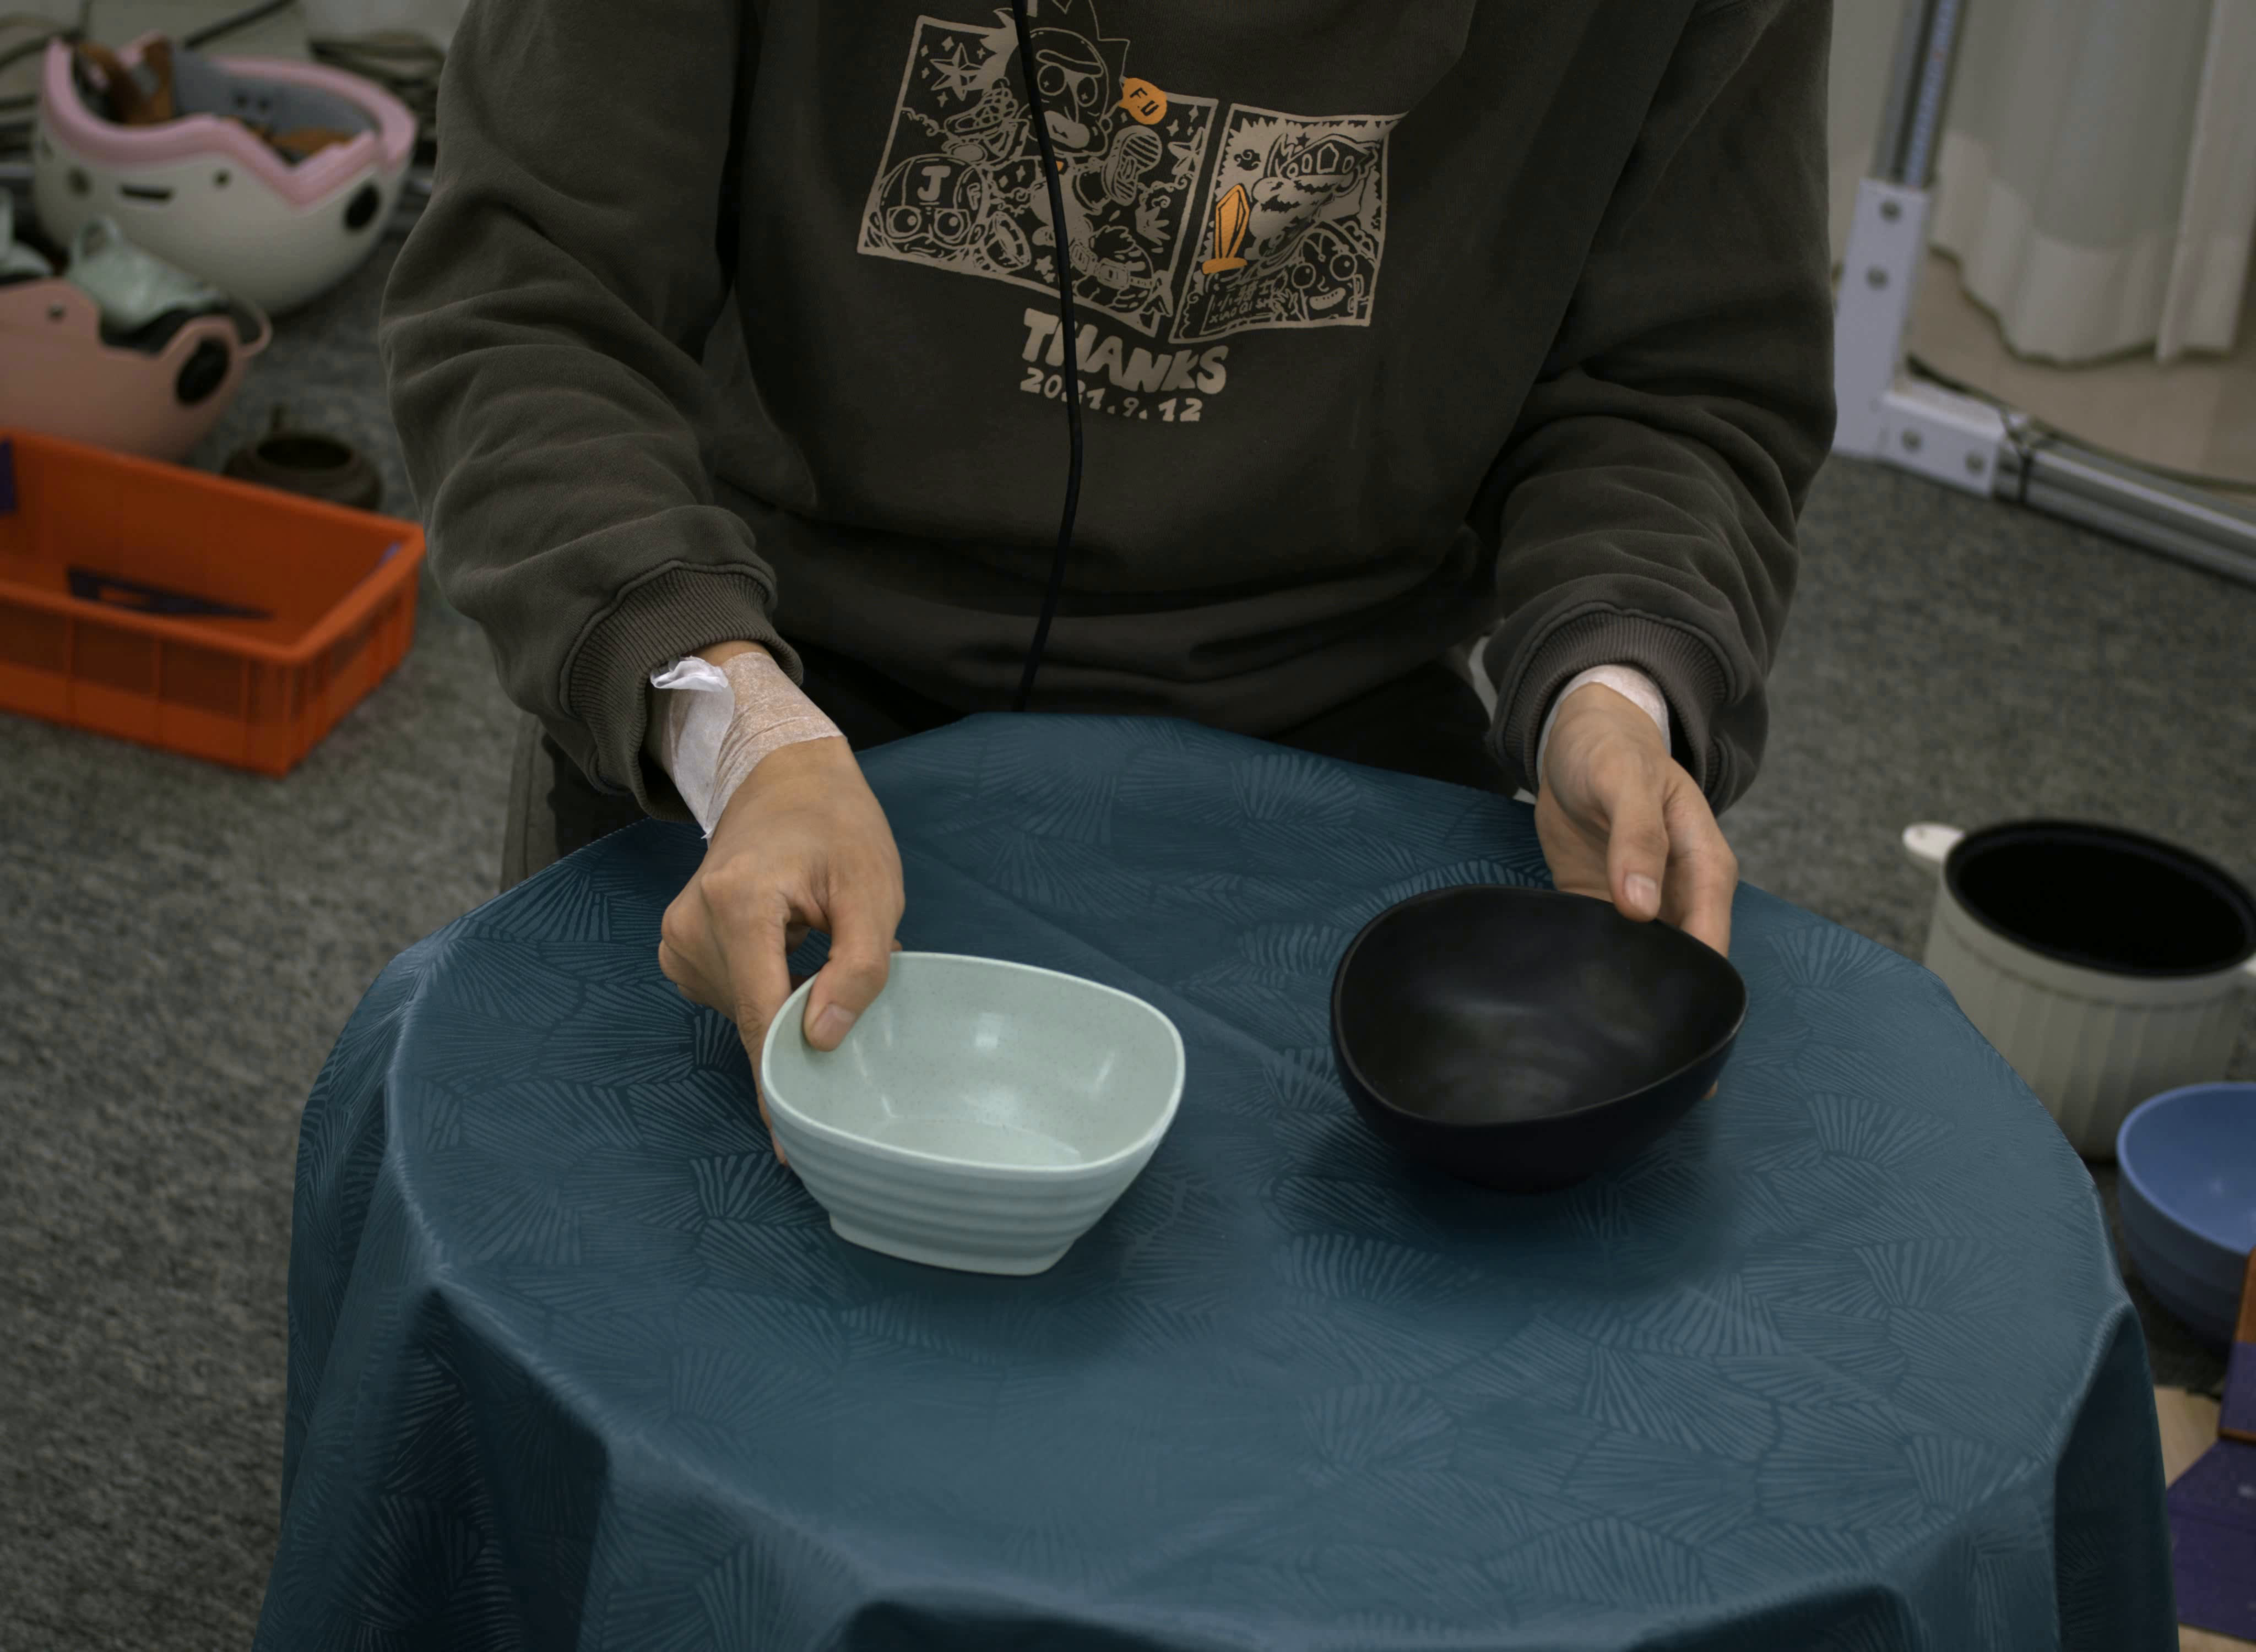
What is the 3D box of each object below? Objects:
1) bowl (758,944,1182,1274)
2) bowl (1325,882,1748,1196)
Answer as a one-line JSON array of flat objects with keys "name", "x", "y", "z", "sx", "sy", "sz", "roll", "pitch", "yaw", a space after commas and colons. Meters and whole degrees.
[{"name": "bowl", "x": -0.055, "y": 0.100, "z": 1.772, "sx": 0.151, "sy": 0.058, "sz": 0.152, "roll": 6, "pitch": 27, "yaw": -4}, {"name": "bowl", "x": 0.138, "y": 0.084, "z": 1.844, "sx": 0.138, "sy": 0.066, "sz": 0.170, "roll": 21, "pitch": 31, "yaw": 27}]
